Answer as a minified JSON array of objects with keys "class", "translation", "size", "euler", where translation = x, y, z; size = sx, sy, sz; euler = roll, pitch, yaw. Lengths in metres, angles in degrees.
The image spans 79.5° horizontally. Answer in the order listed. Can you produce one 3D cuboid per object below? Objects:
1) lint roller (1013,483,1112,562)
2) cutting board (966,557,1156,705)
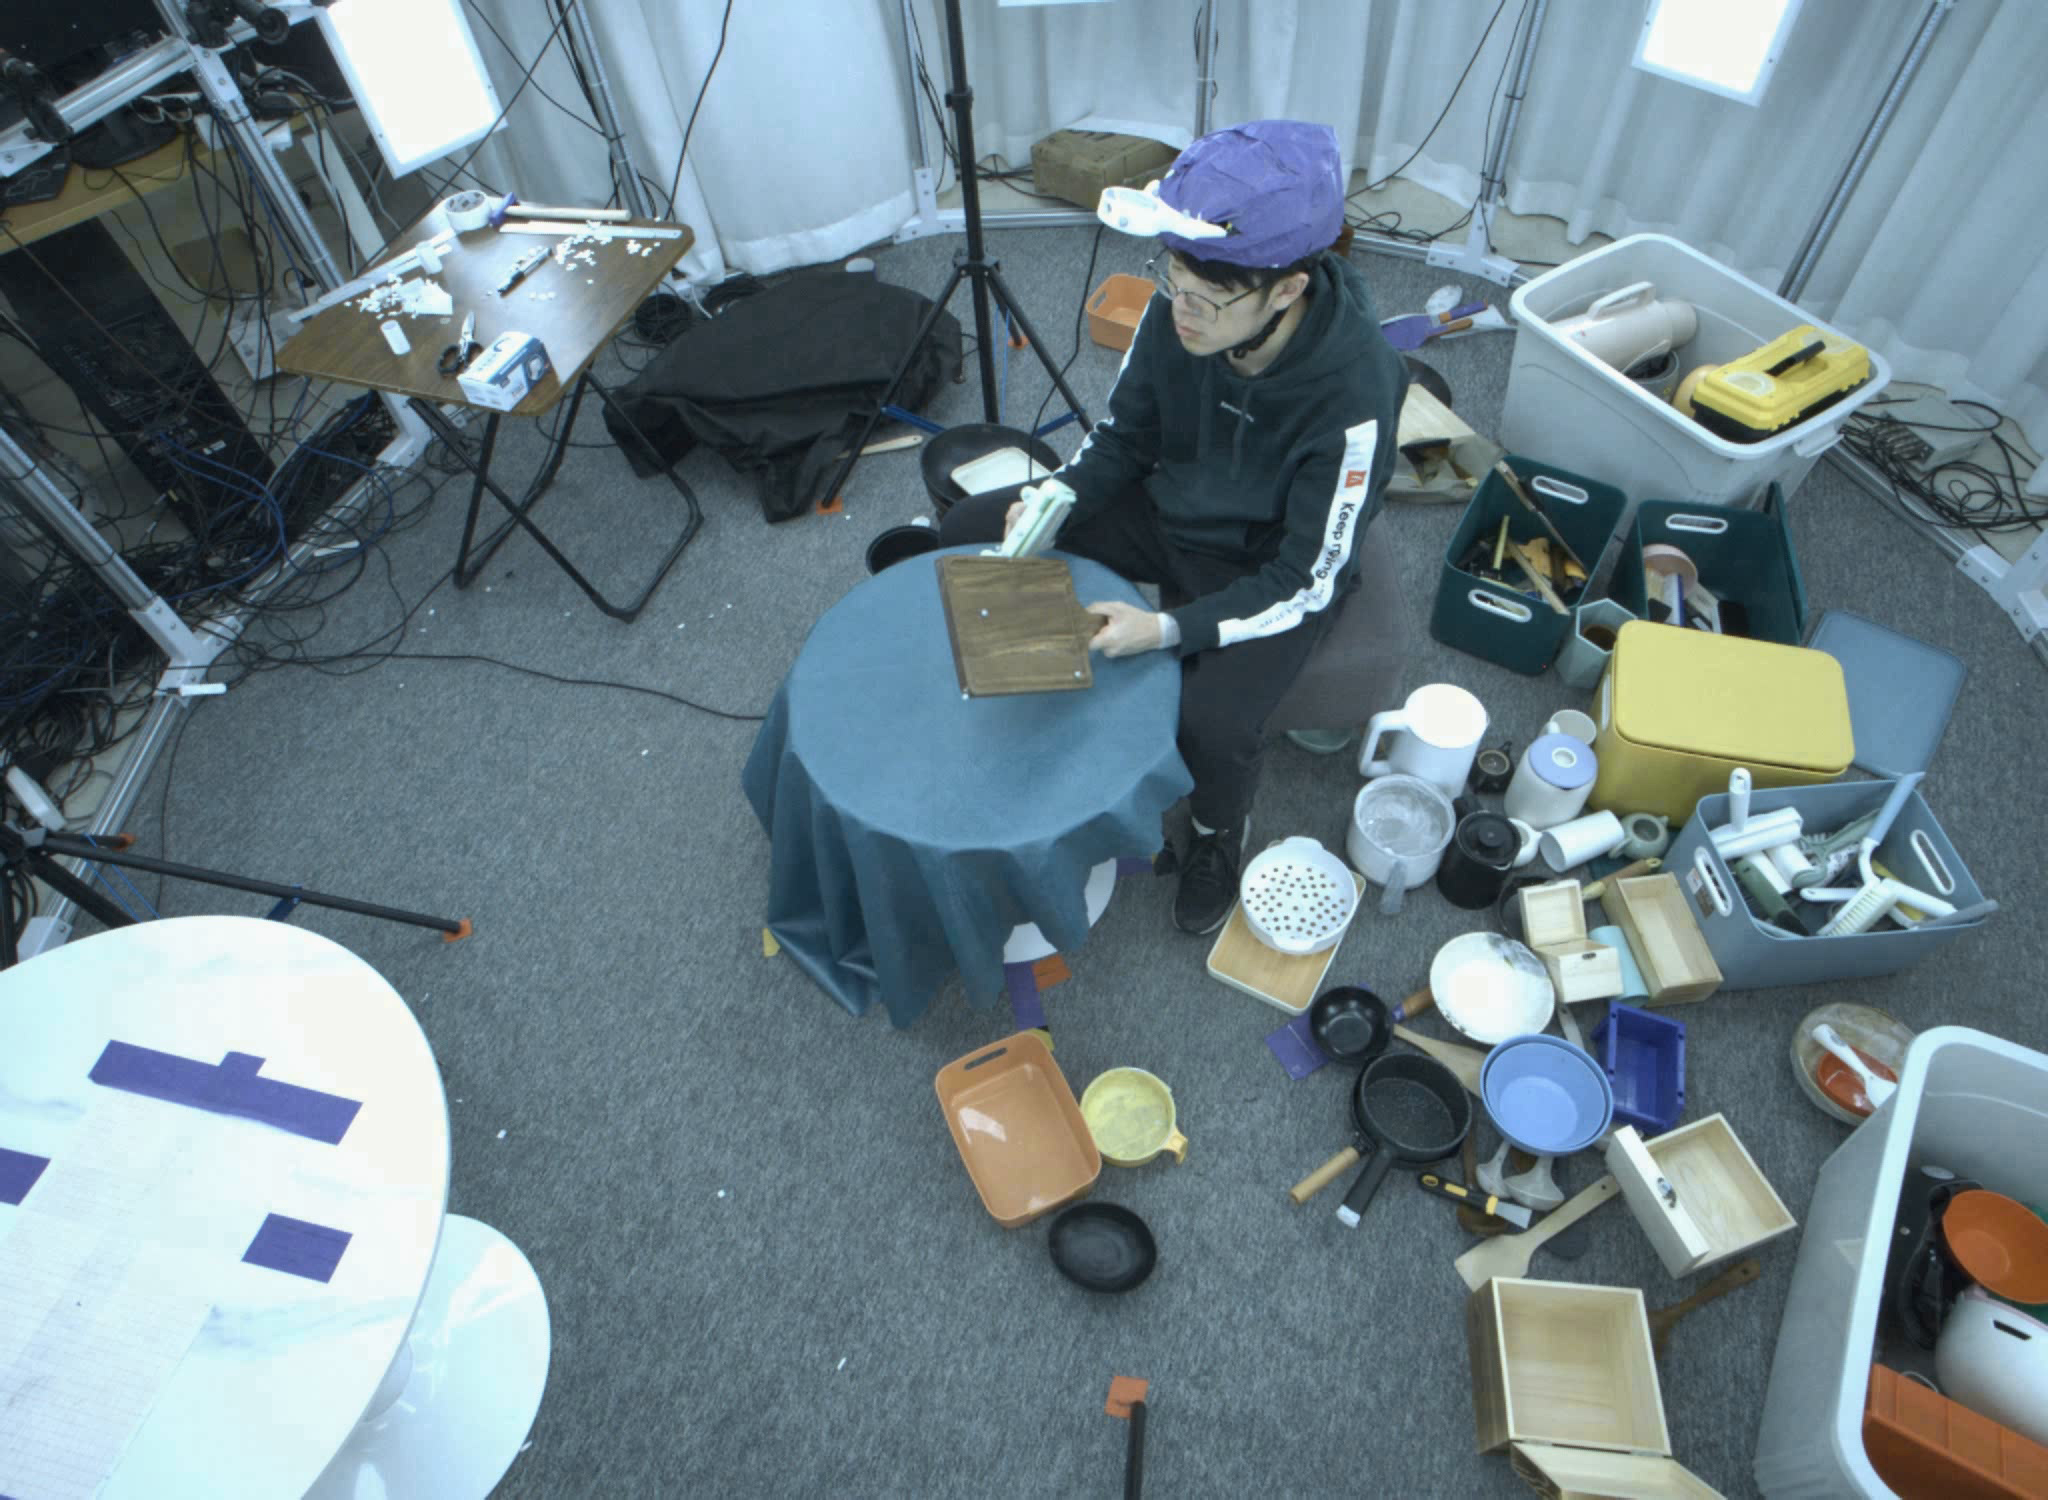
[{"class":"lint roller","translation":[0.055,-0.331,1.859],"size":[0.083,0.198,0.182],"euler":[33,24,-10]},{"class":"cutting board","translation":[0.069,-0.170,1.733],"size":[0.359,0.023,0.200],"euler":[-6,85,-46]}]
